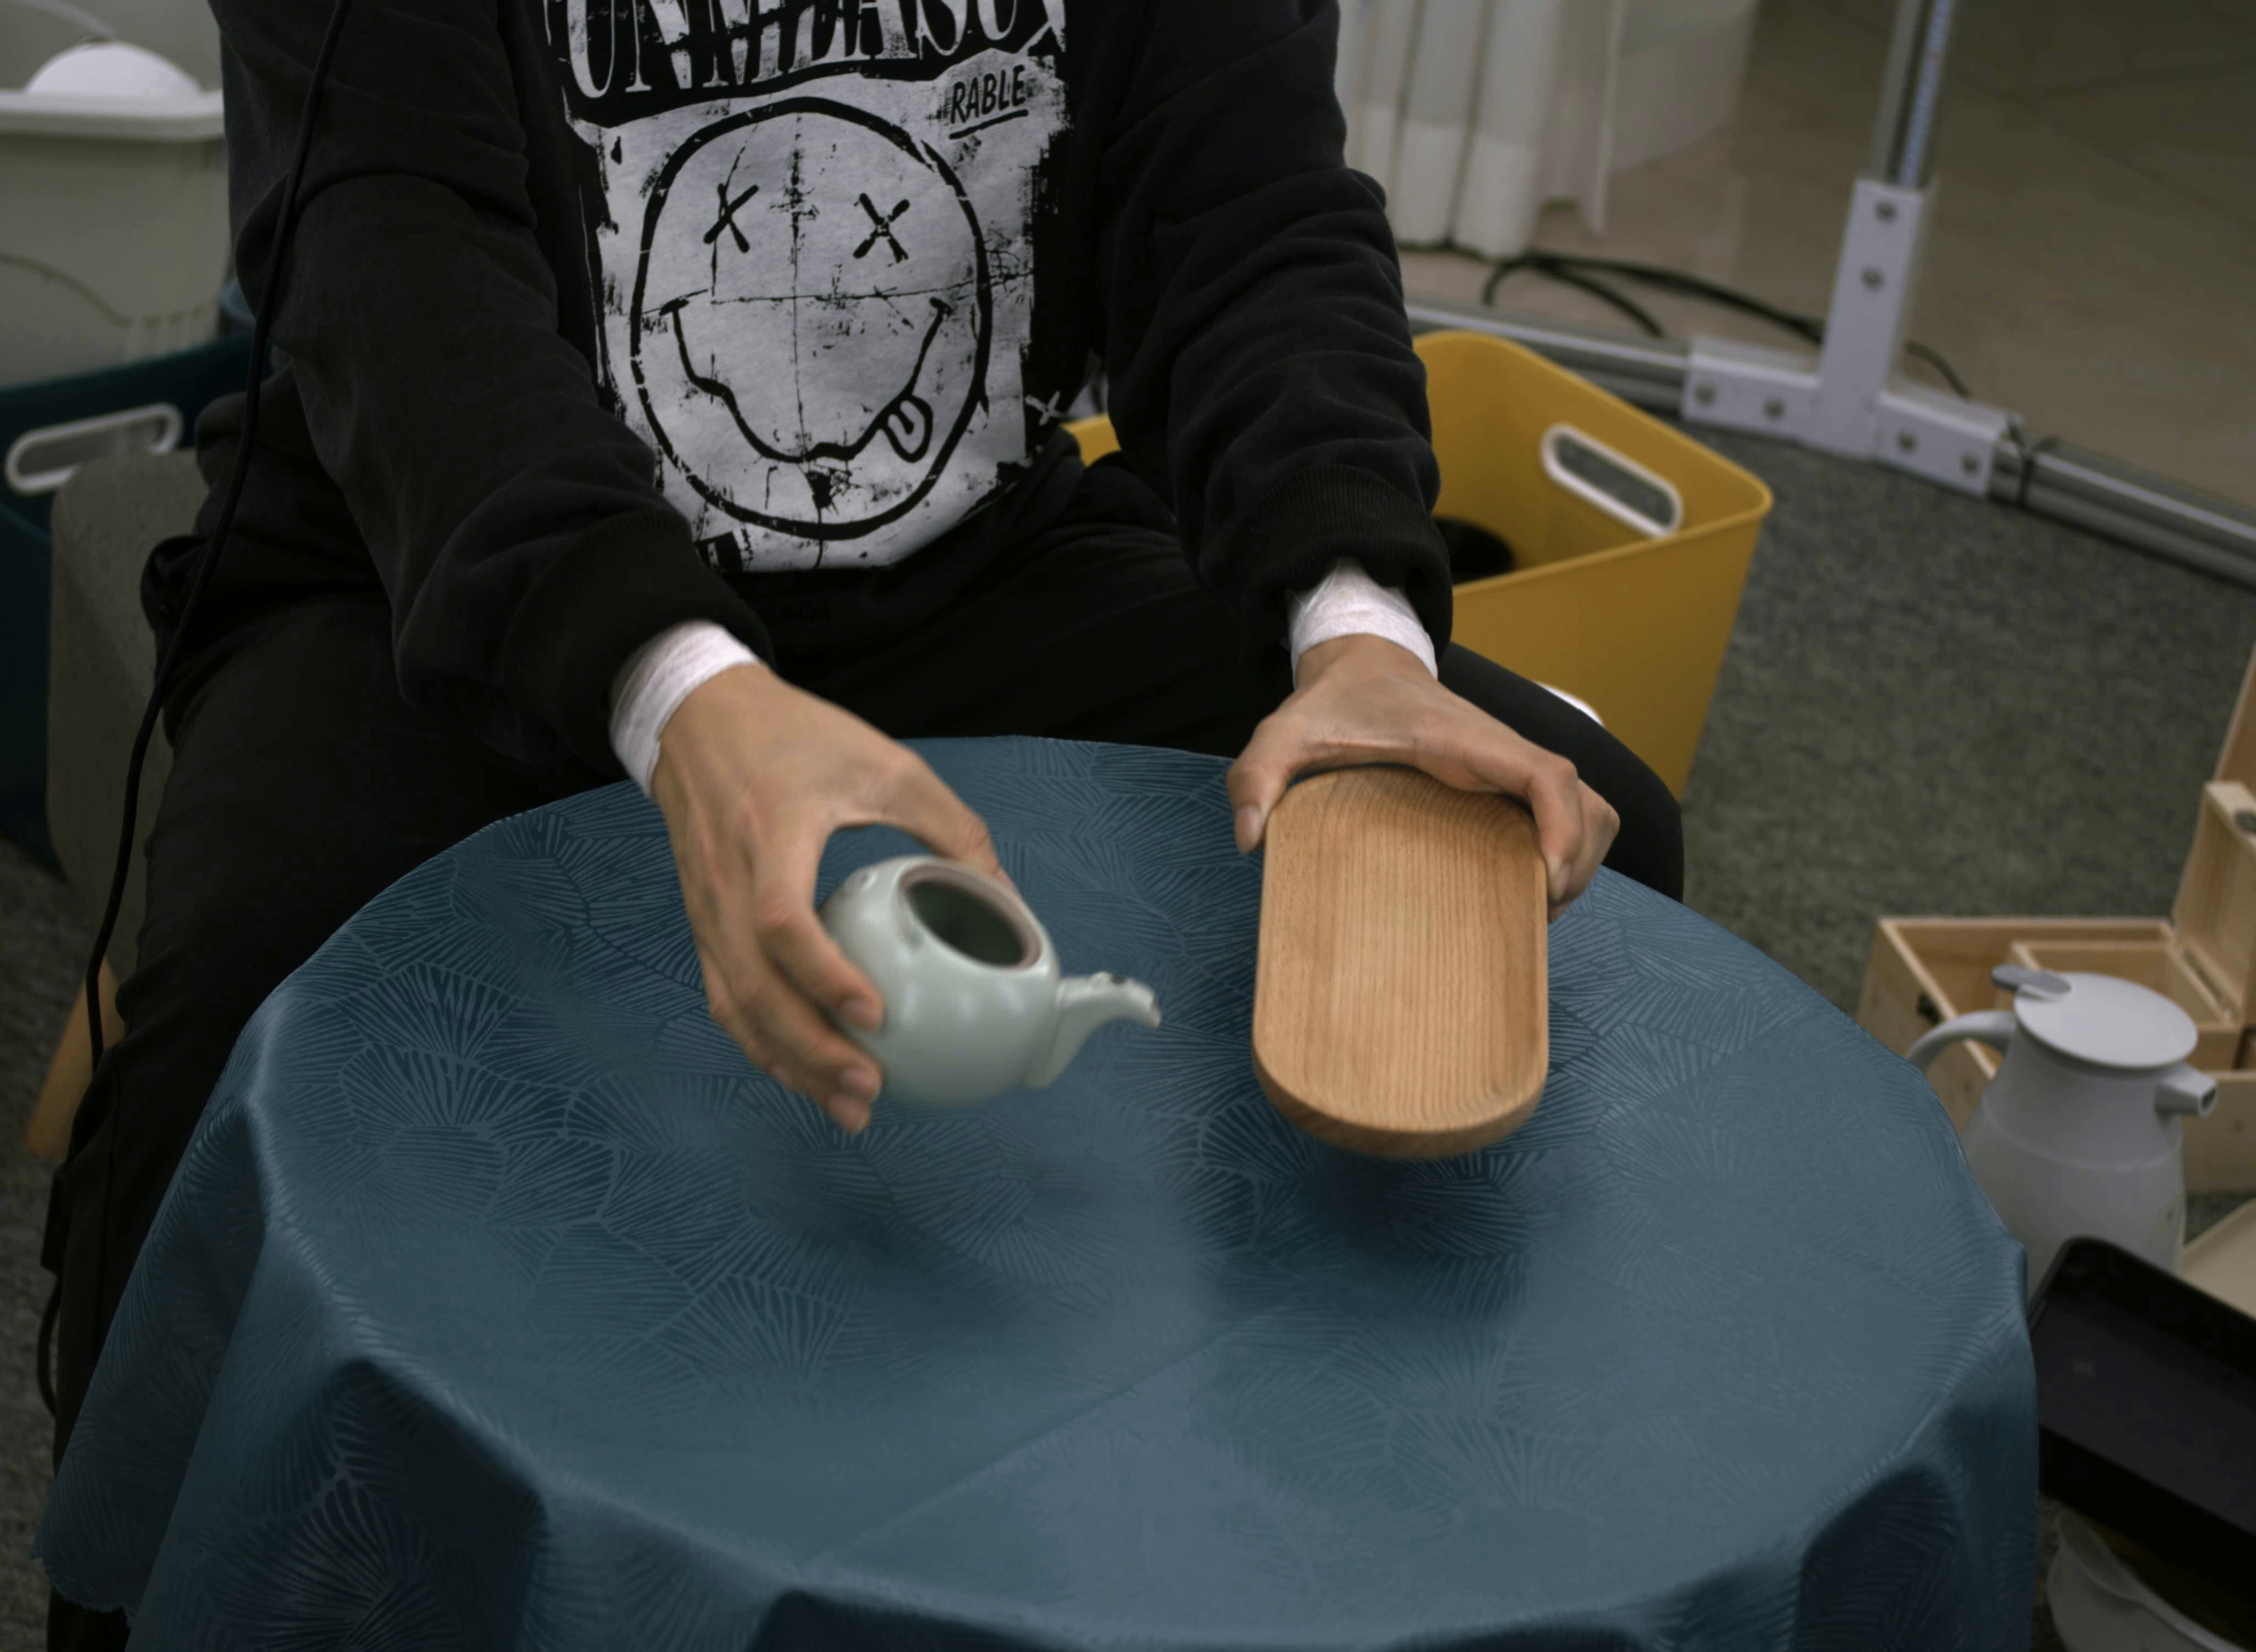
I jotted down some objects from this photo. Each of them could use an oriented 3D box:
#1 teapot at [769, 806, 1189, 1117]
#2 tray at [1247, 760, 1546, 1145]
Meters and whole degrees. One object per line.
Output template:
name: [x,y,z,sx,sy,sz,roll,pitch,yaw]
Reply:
teapot: [-0.057,0.053,1.746,0.143,0.074,0.089,30,26,-6]
tray: [0.093,0.041,1.849,0.101,0.020,0.232,6,30,0]
